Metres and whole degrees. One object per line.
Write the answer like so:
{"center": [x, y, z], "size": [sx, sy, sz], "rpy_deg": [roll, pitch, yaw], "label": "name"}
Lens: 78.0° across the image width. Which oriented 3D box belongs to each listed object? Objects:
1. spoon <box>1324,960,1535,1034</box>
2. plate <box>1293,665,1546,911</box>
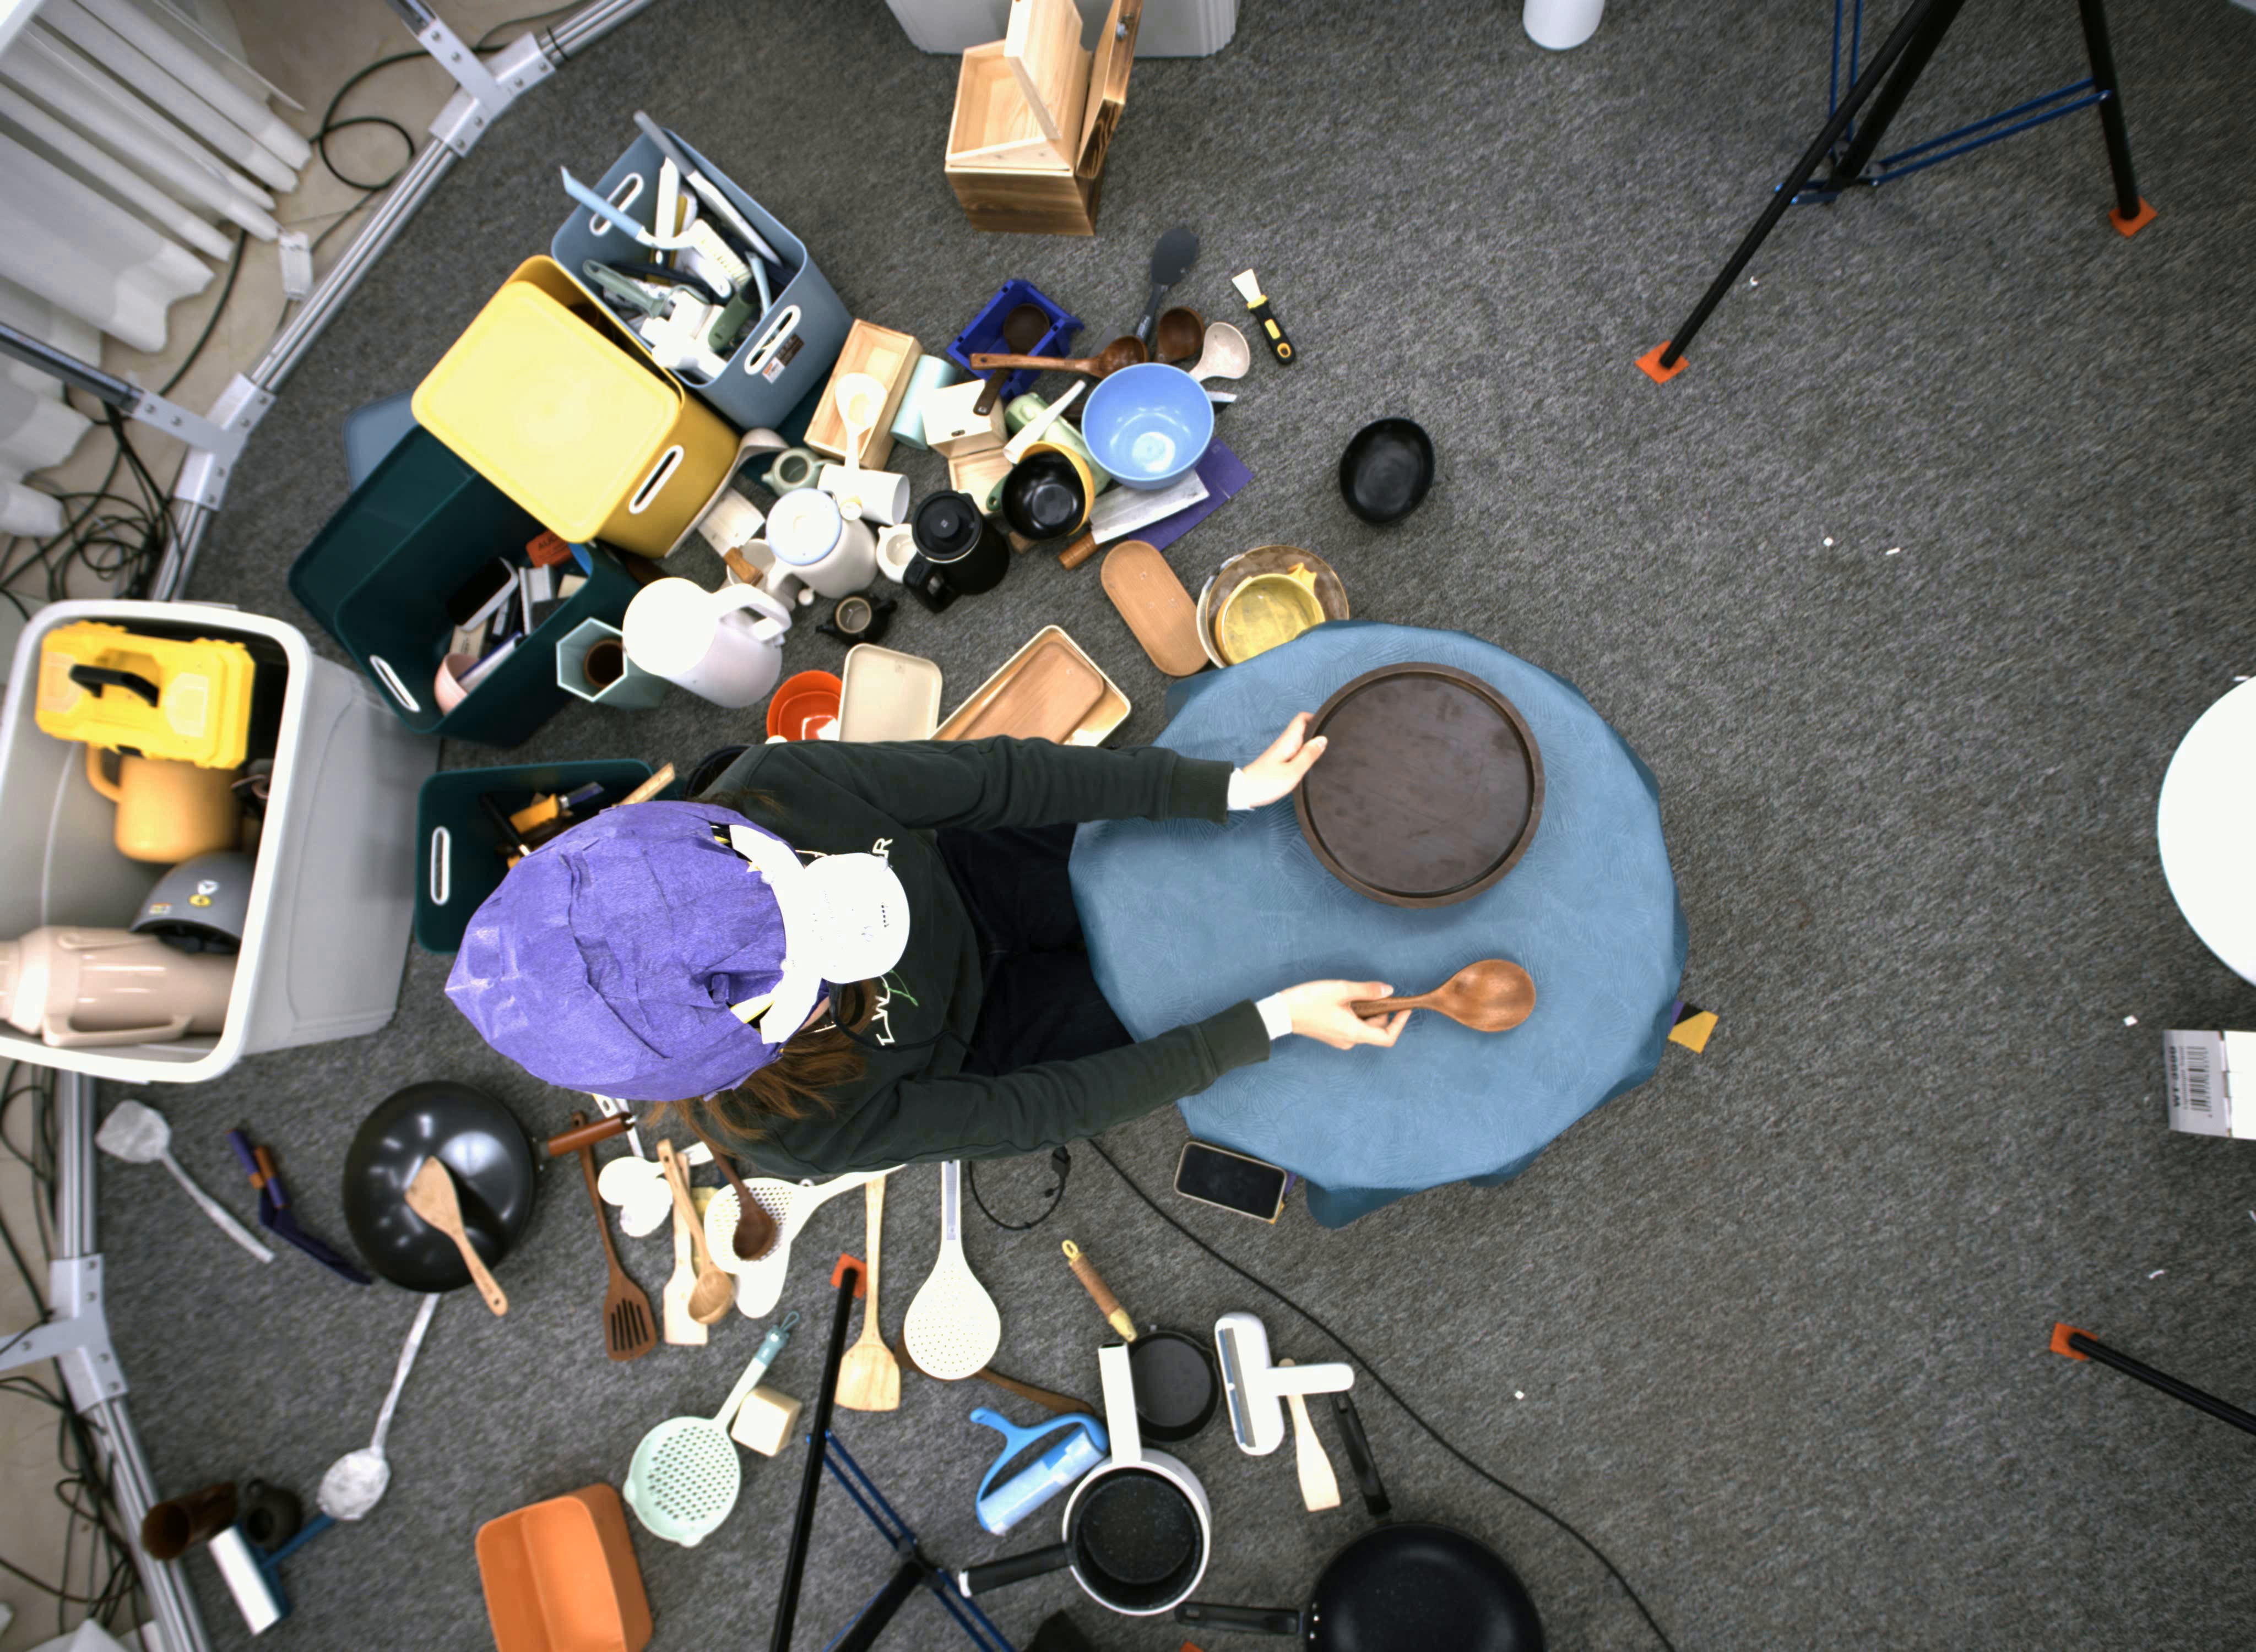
{"center": [0.307, 0.179, 1.407], "size": [0.216, 0.017, 0.075], "rpy_deg": [-6, 91, 0], "label": "spoon"}
{"center": [0.294, -0.041, 1.399], "size": [0.255, 0.029, 0.253], "rpy_deg": [-1, 84, 6], "label": "plate"}
